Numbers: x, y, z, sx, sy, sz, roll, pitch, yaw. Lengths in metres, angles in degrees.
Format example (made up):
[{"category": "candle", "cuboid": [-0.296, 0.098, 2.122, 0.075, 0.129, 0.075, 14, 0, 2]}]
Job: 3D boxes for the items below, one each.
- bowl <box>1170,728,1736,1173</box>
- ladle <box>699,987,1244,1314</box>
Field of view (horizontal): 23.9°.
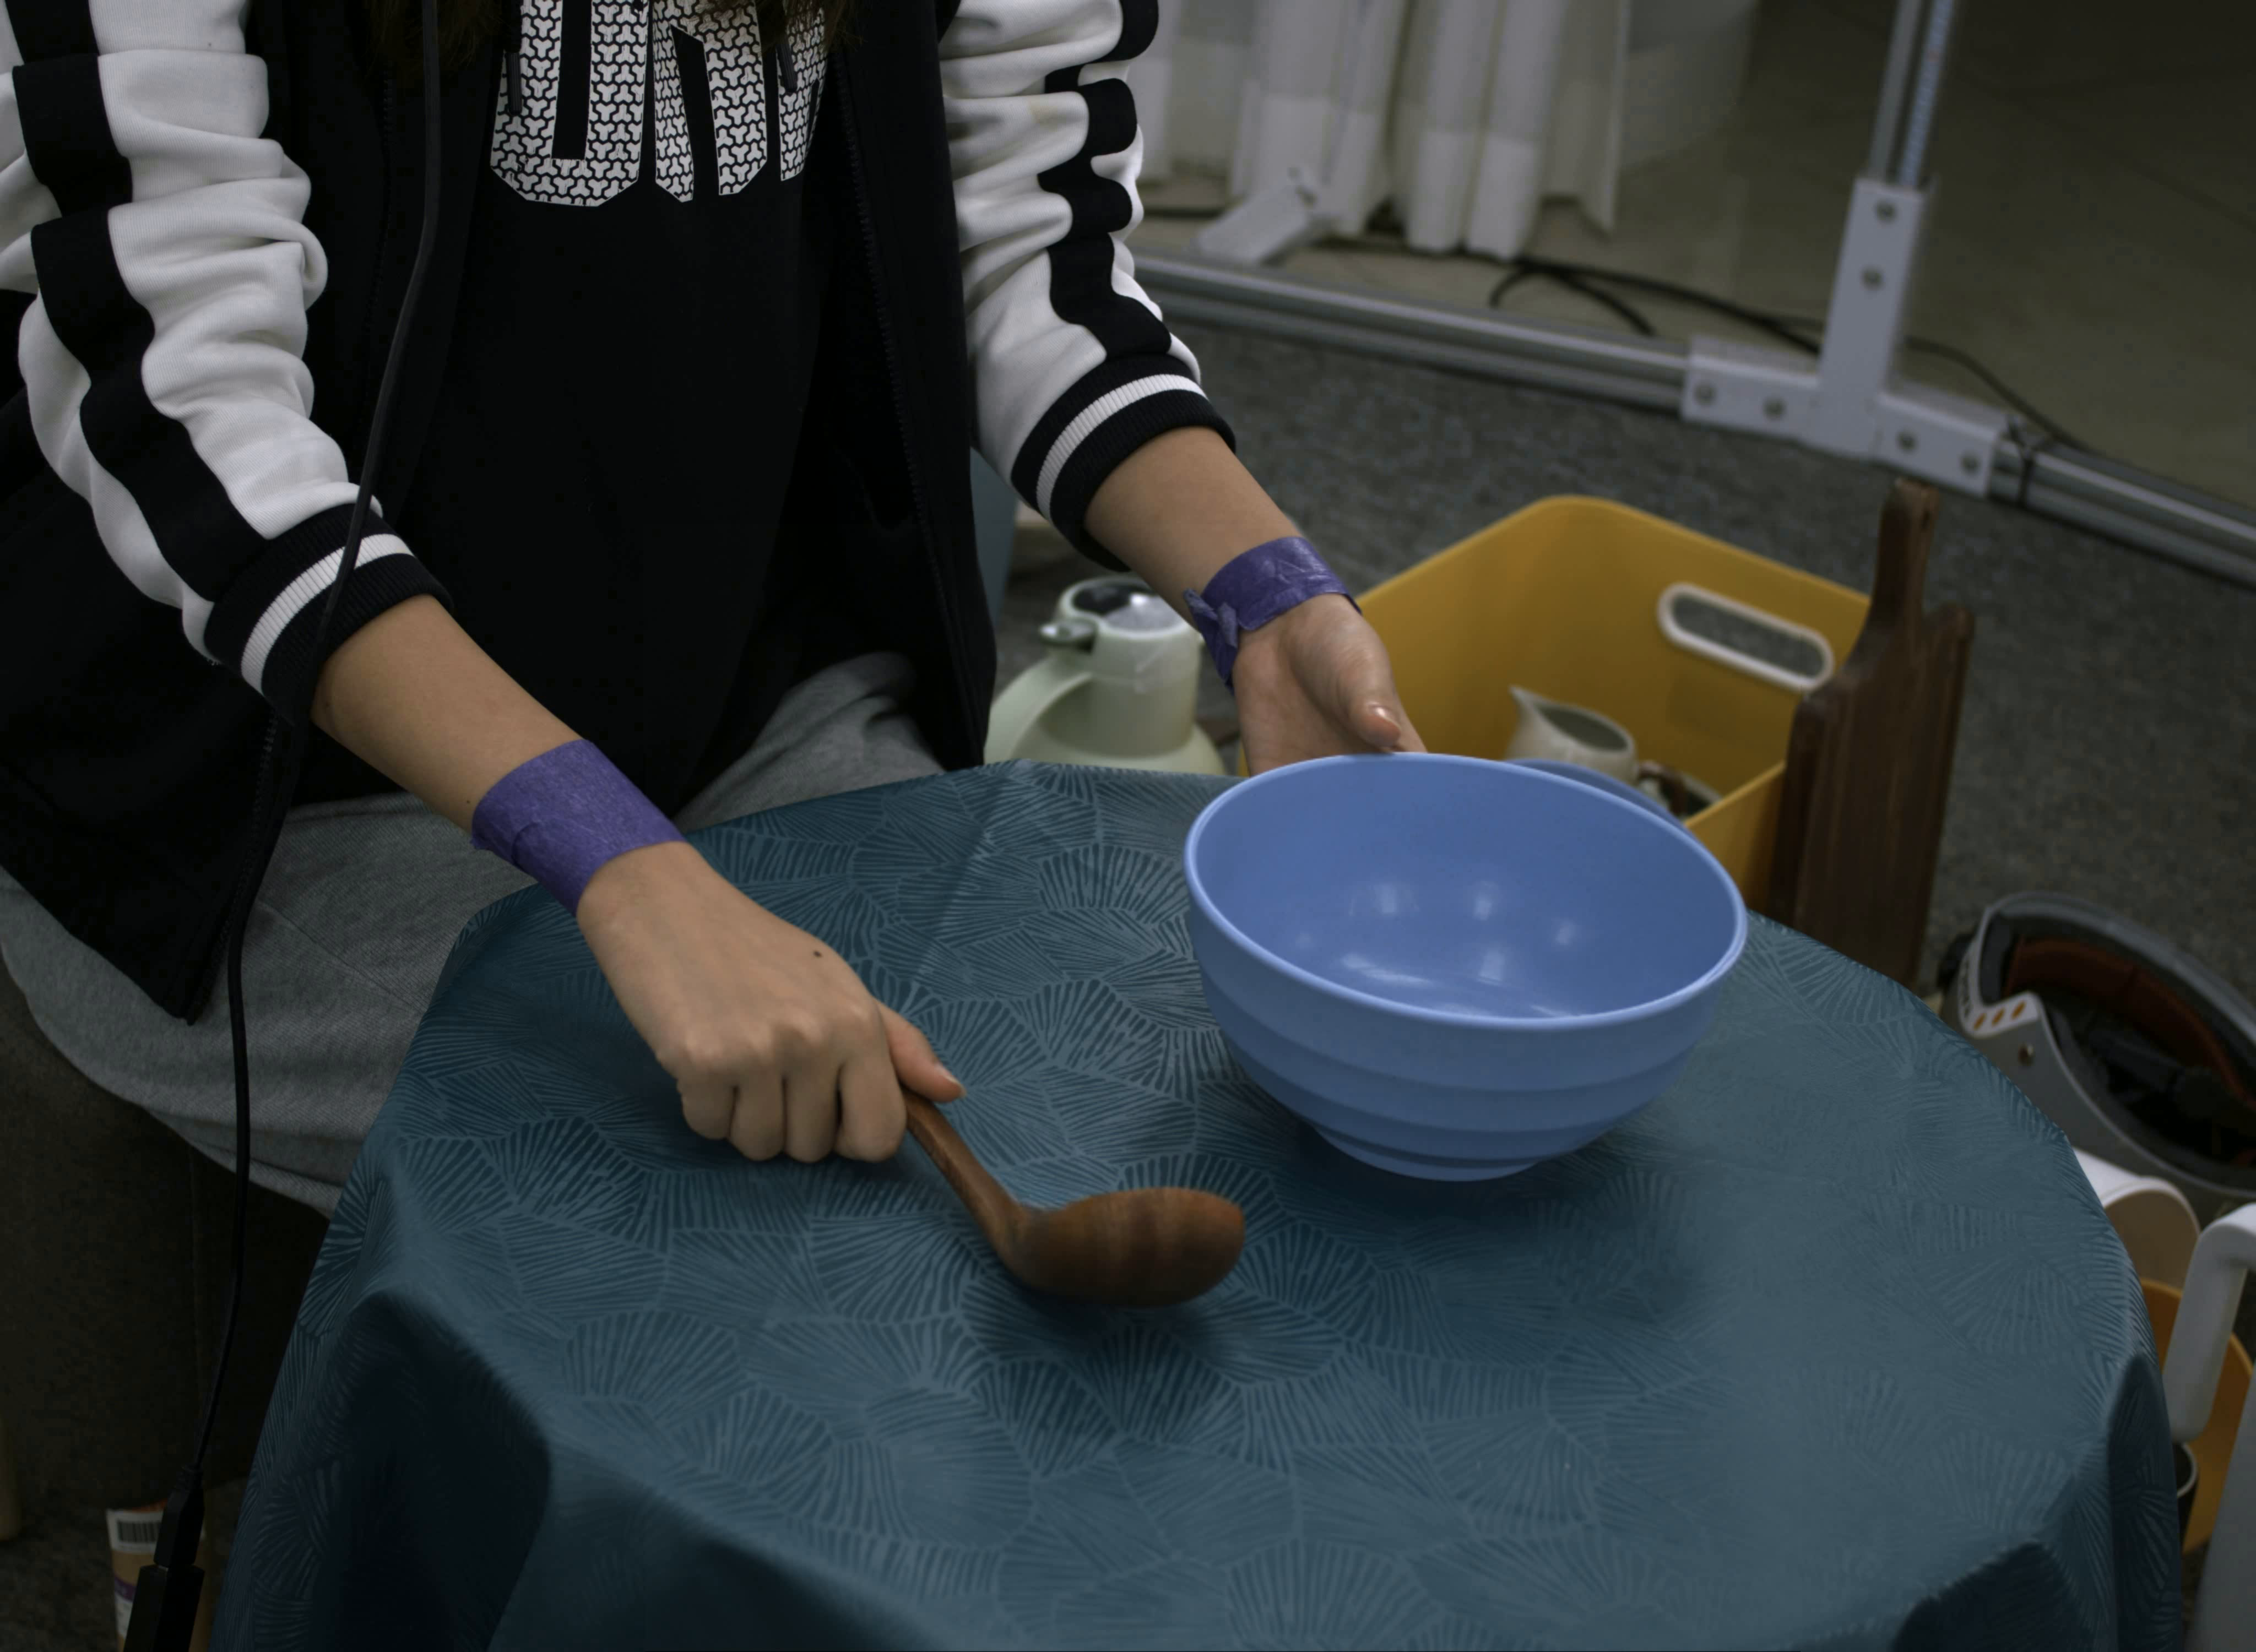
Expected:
[{"category": "bowl", "cuboid": [0.109, 0.056, 1.856, 0.196, 0.095, 0.198, 3, 33, -2]}, {"category": "ladle", "cuboid": [-0.058, 0.094, 1.780, 0.076, 0.065, 0.262, 20, 11, -45]}]
